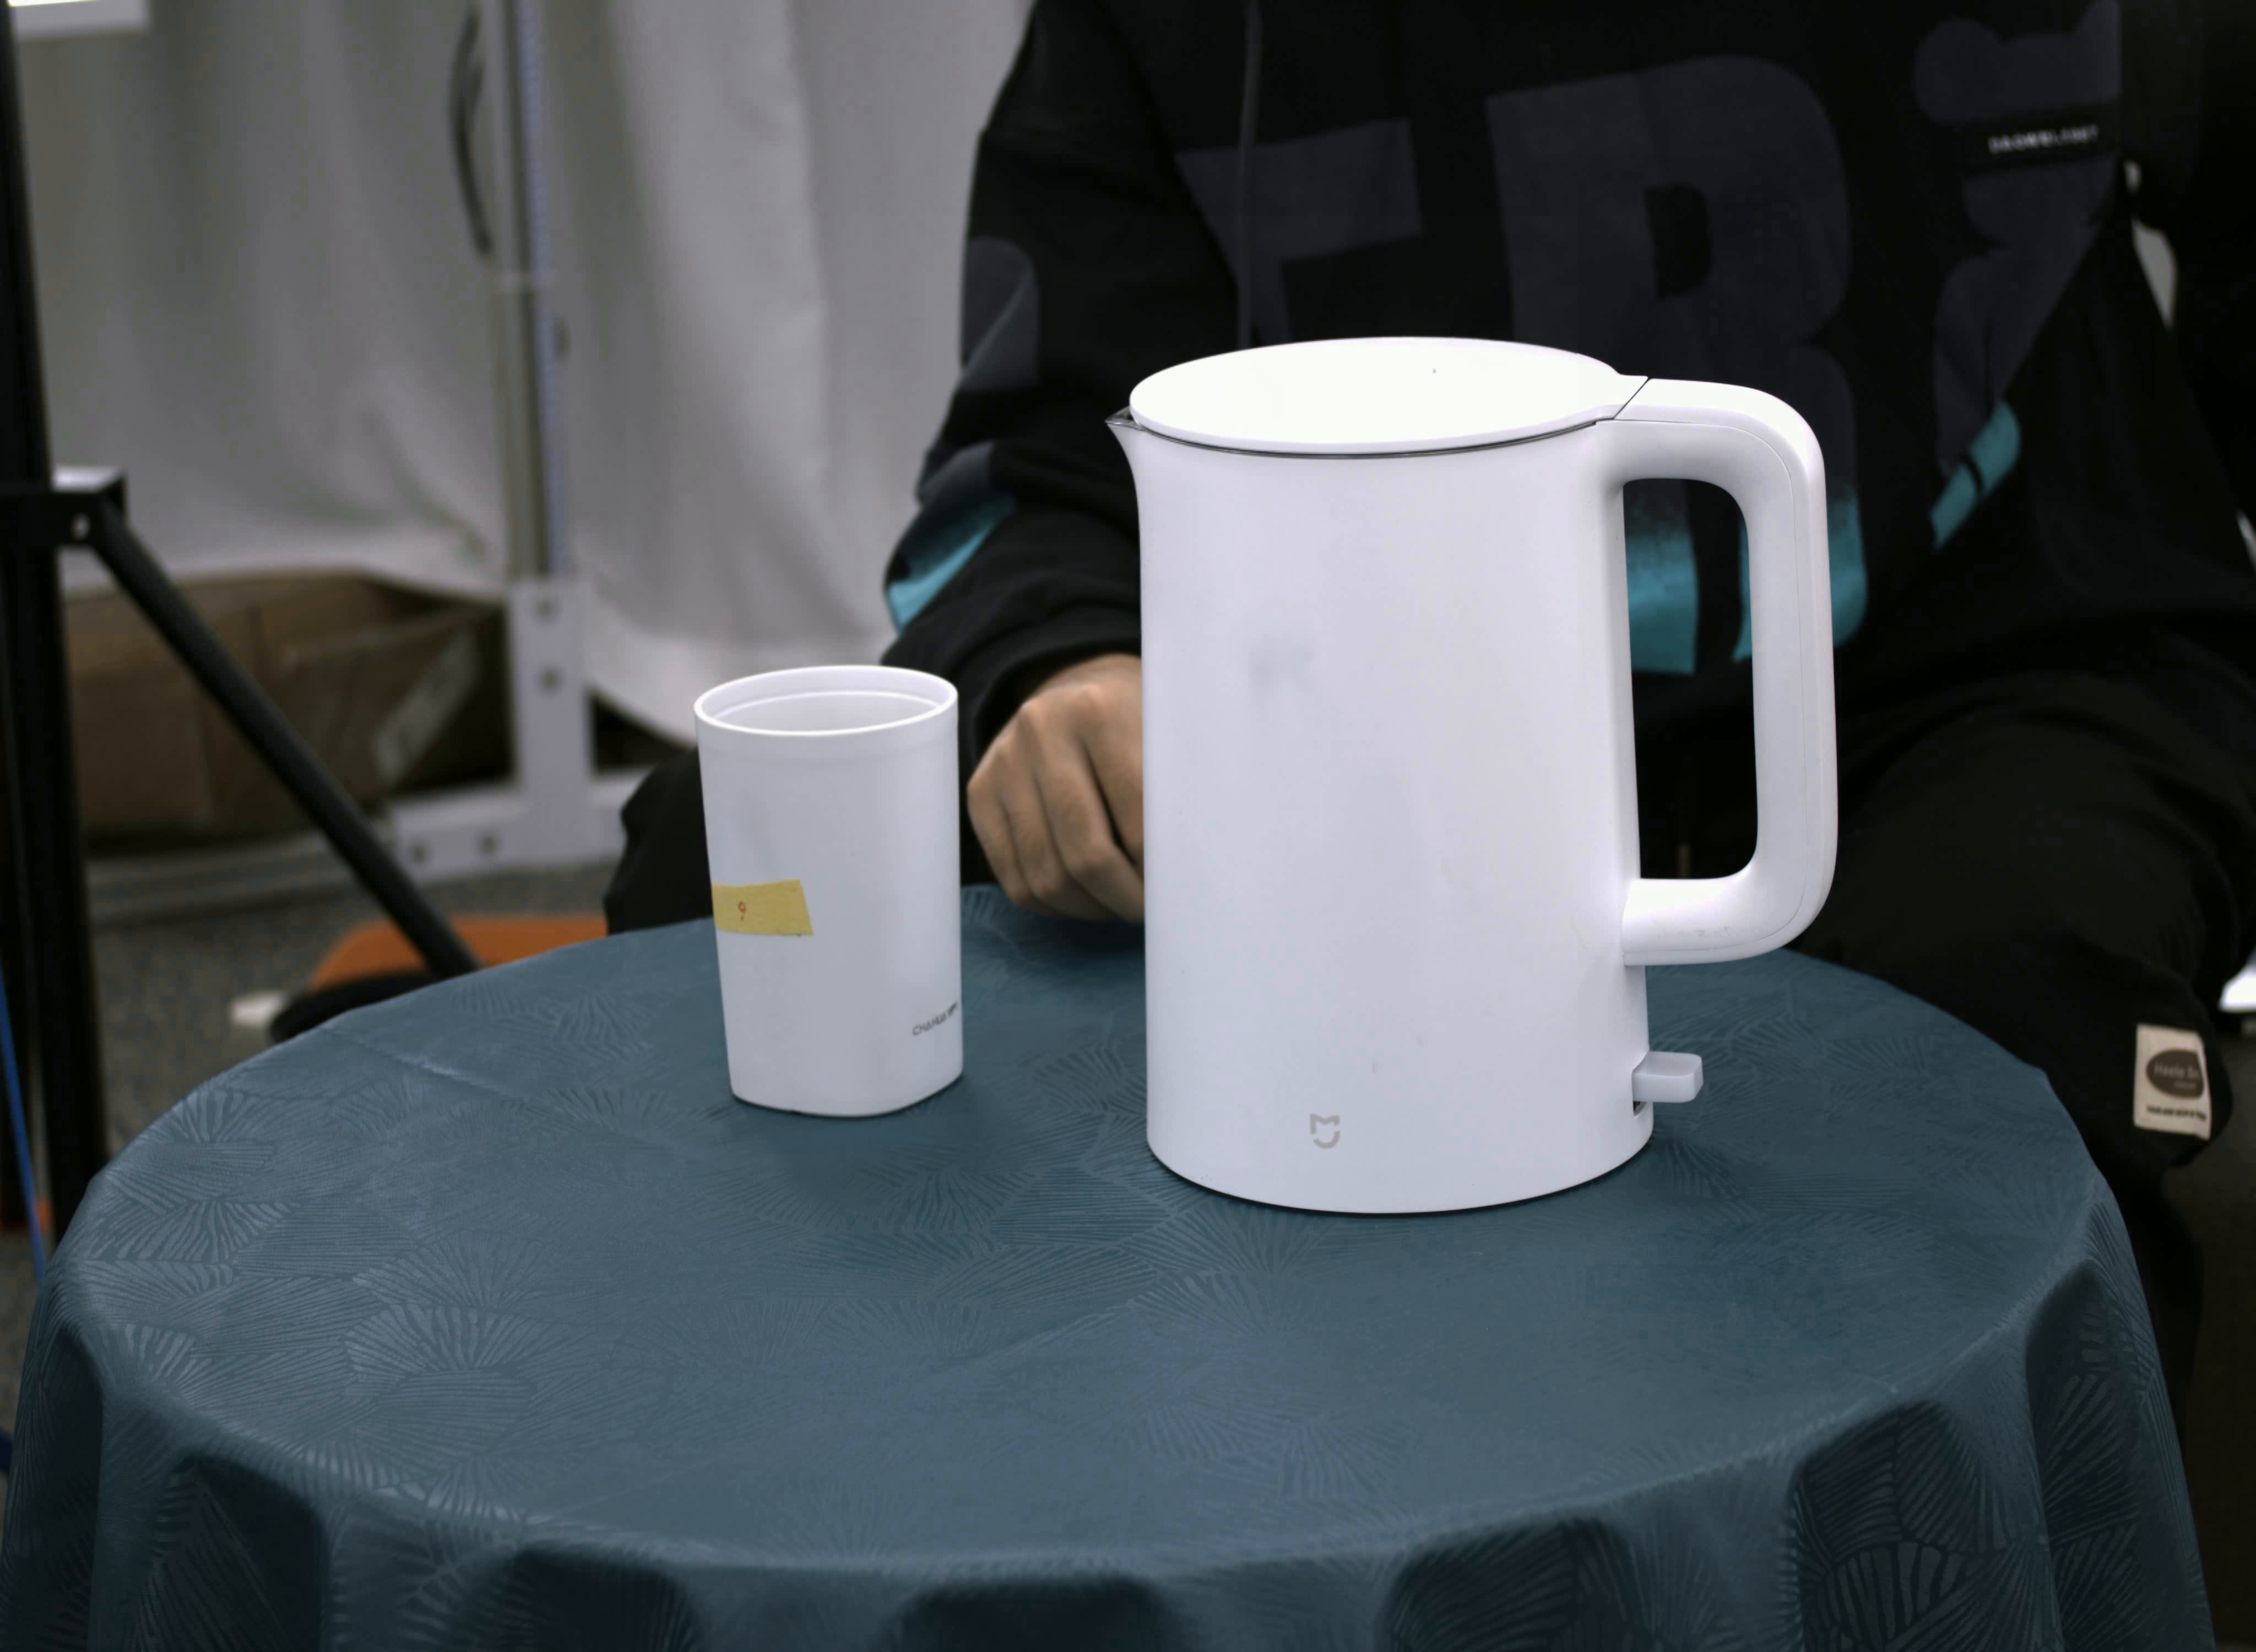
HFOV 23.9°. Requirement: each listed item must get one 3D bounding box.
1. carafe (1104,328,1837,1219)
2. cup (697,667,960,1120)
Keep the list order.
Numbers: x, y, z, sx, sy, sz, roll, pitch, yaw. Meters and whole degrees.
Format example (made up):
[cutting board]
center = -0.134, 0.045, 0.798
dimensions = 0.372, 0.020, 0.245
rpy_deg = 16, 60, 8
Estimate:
[carafe]
center = 0.101, -0.017, 1.556
dimensions = 0.215, 0.240, 0.150
rpy_deg = 2, 17, 18
[cup]
center = -0.090, 0.021, 1.652
dimensions = 0.081, 0.125, 0.082
rpy_deg = -2, 15, -1
